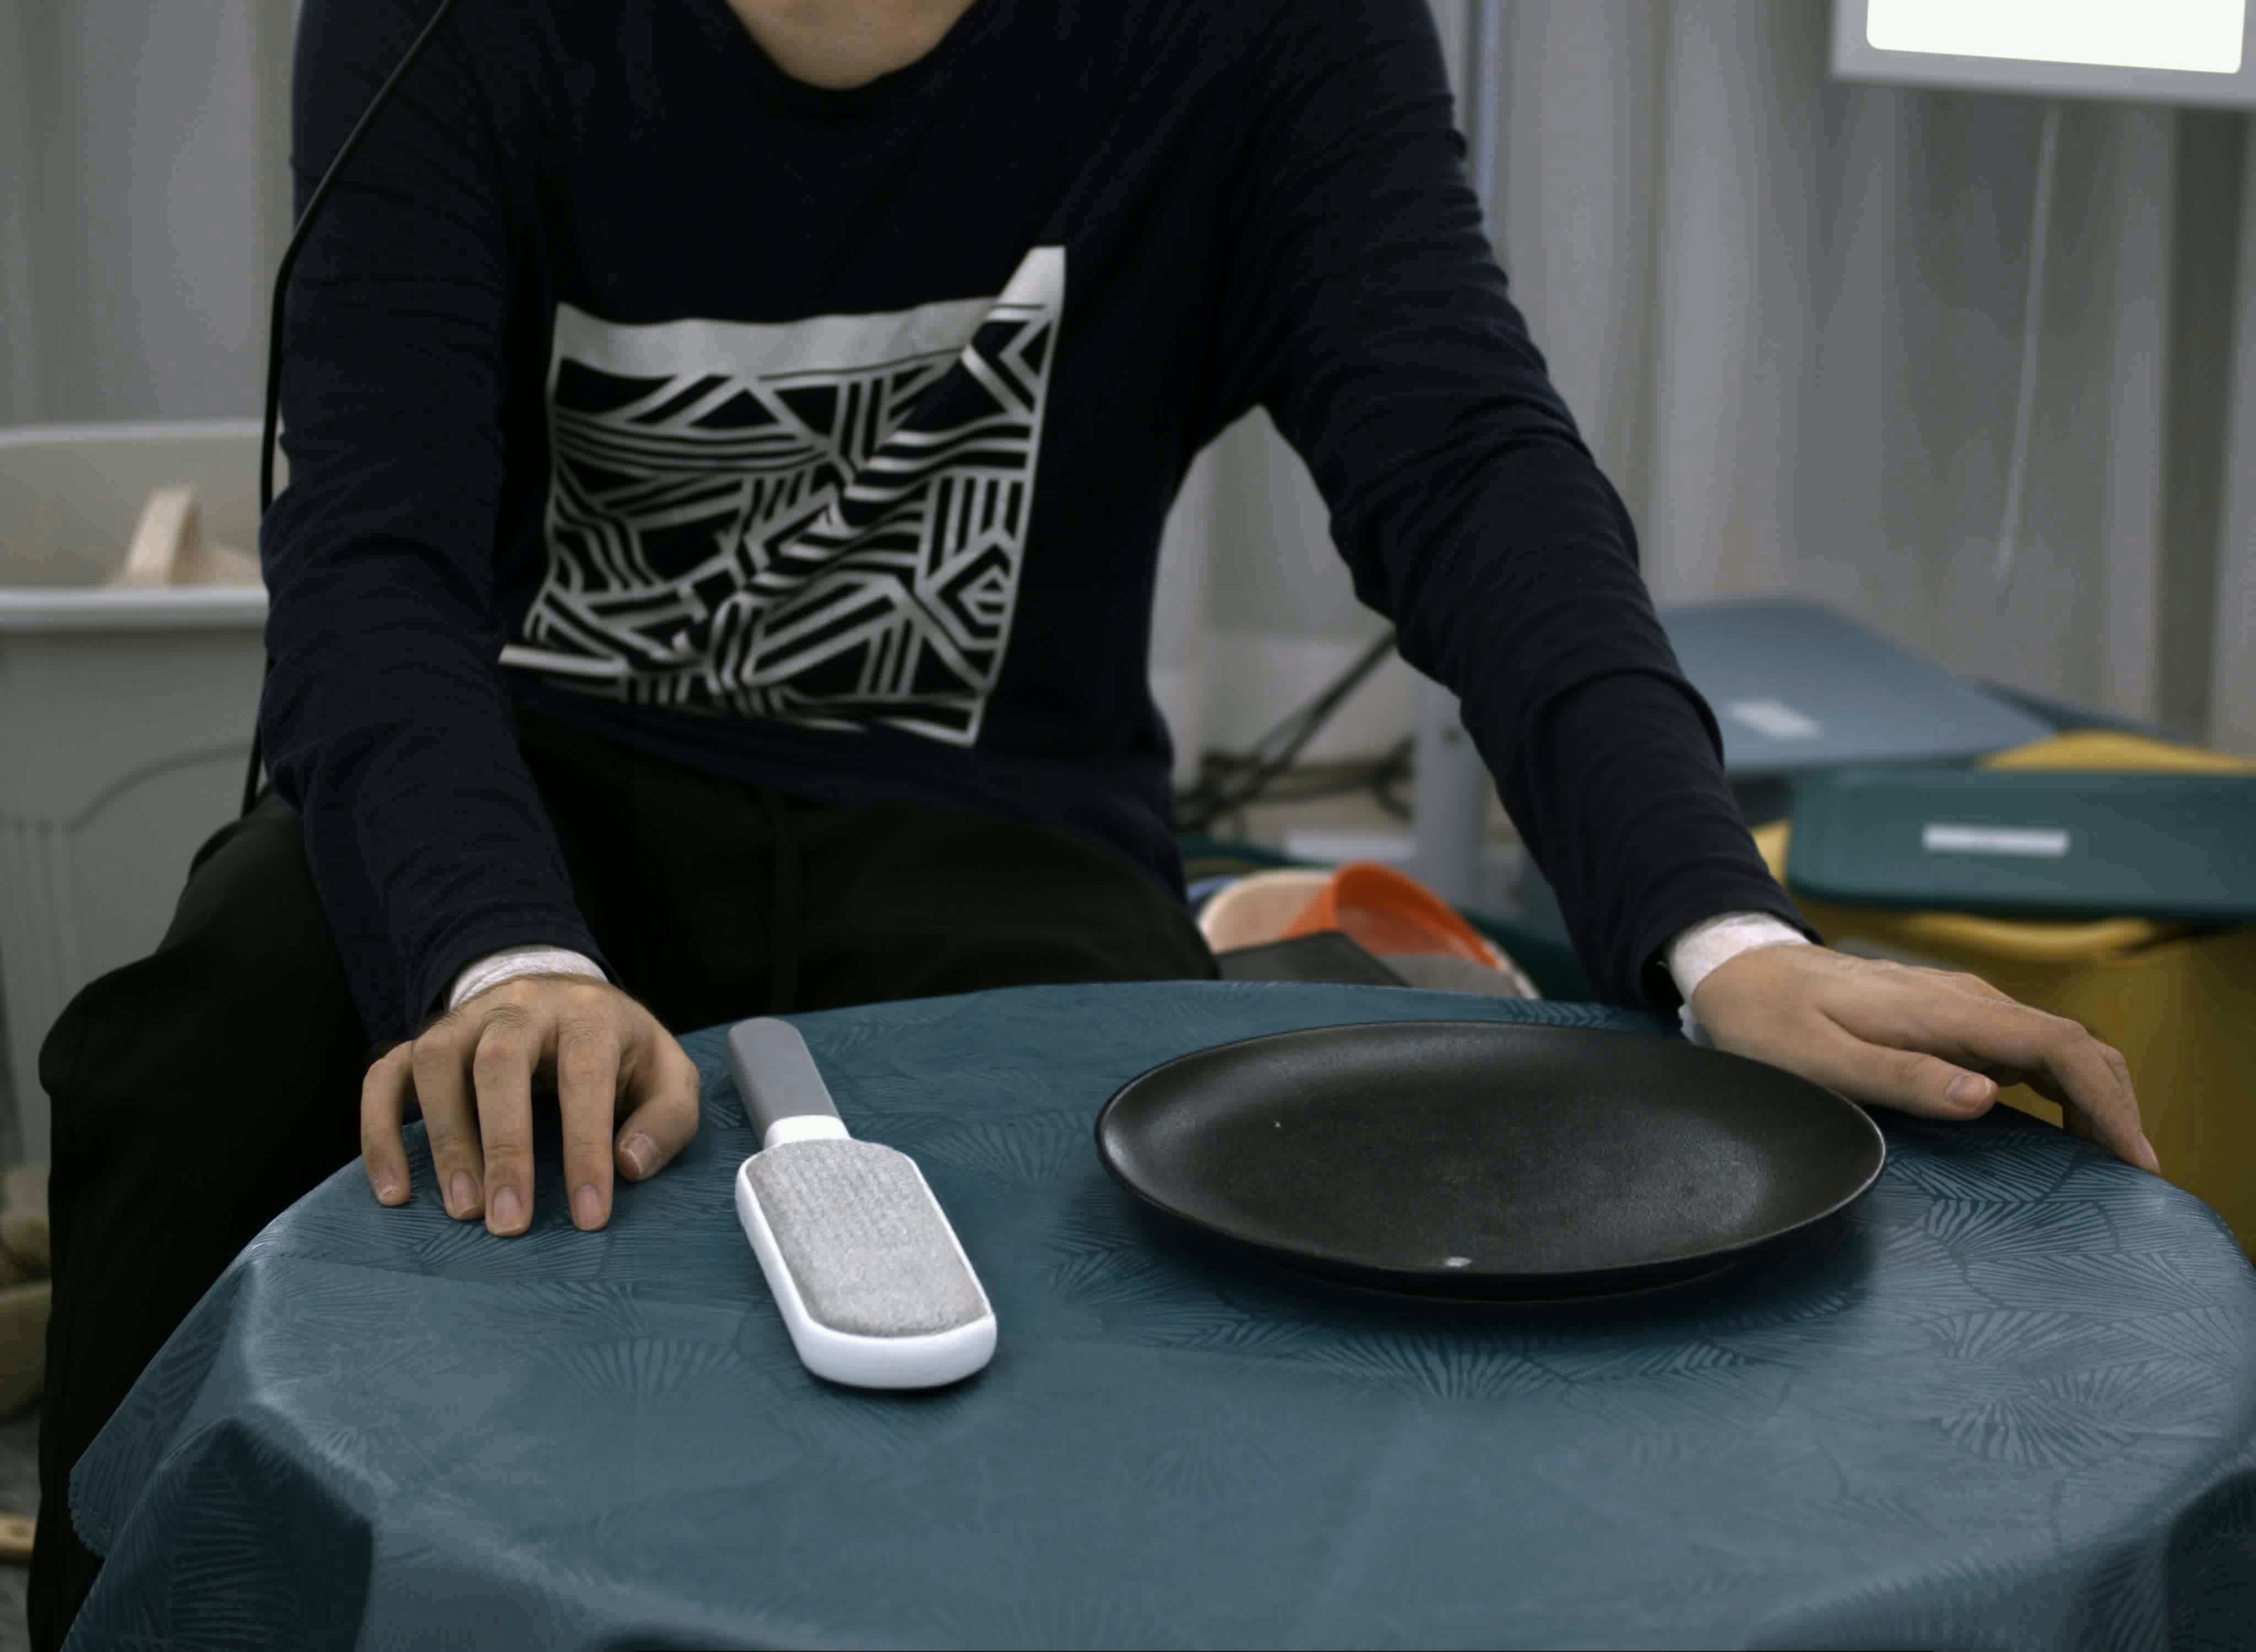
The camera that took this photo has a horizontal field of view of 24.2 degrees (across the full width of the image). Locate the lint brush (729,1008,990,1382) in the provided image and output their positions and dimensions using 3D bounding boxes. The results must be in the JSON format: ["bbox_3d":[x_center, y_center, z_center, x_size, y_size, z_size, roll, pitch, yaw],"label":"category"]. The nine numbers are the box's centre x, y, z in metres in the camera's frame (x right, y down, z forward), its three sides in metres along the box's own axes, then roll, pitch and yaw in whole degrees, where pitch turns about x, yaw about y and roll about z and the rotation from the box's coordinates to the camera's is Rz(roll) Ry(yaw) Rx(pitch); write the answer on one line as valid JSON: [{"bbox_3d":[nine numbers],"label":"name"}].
[{"bbox_3d":[-0.089,0.107,1.591,0.060,0.021,0.306,-8,17,-9],"label":"lint brush"}]

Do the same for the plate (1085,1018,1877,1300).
[{"bbox_3d":[0.107,0.104,1.615,0.243,0.023,0.243,1,15,0],"label":"plate"}]
